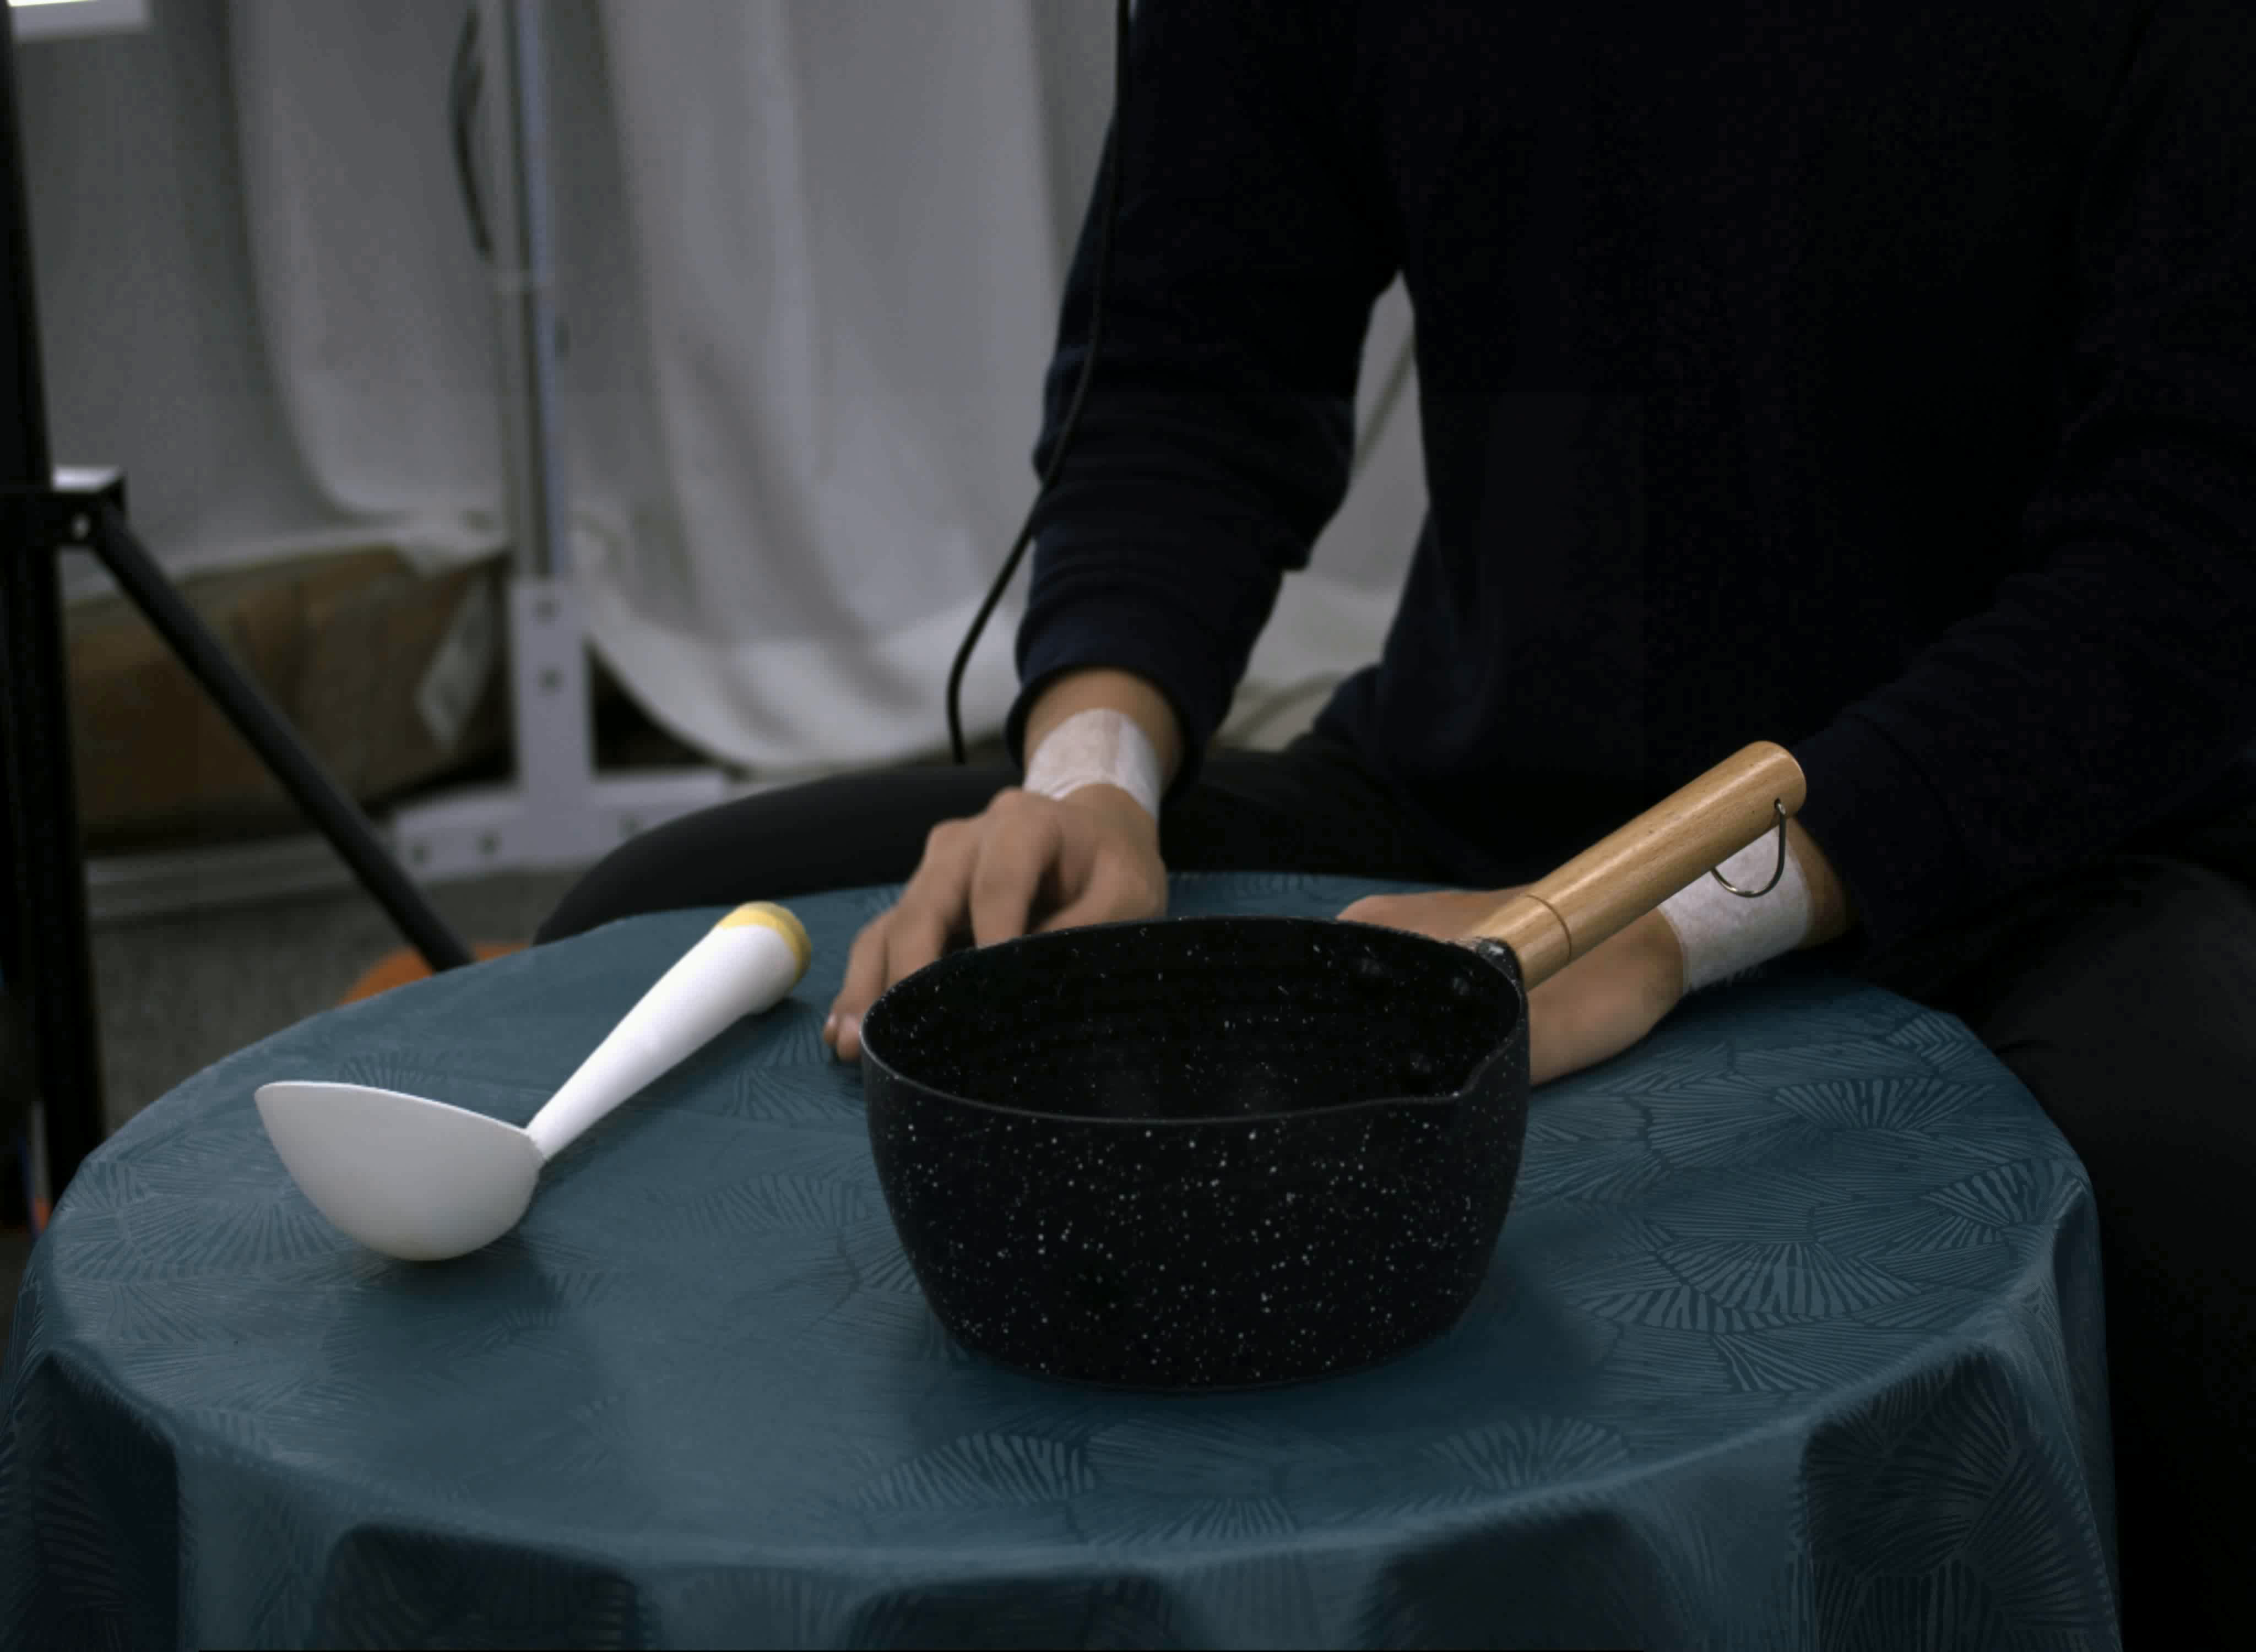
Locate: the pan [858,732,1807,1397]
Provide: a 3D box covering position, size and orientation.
[{"bbox_3d":[0.076,0.062,1.508,0.335,0.108,0.212,-18,21,-40],"label":"pan"}]

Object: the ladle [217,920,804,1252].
[{"bbox_3d":[-0.174,0.064,1.625,0.091,0.070,0.289,-2,14,23],"label":"ladle"}]
